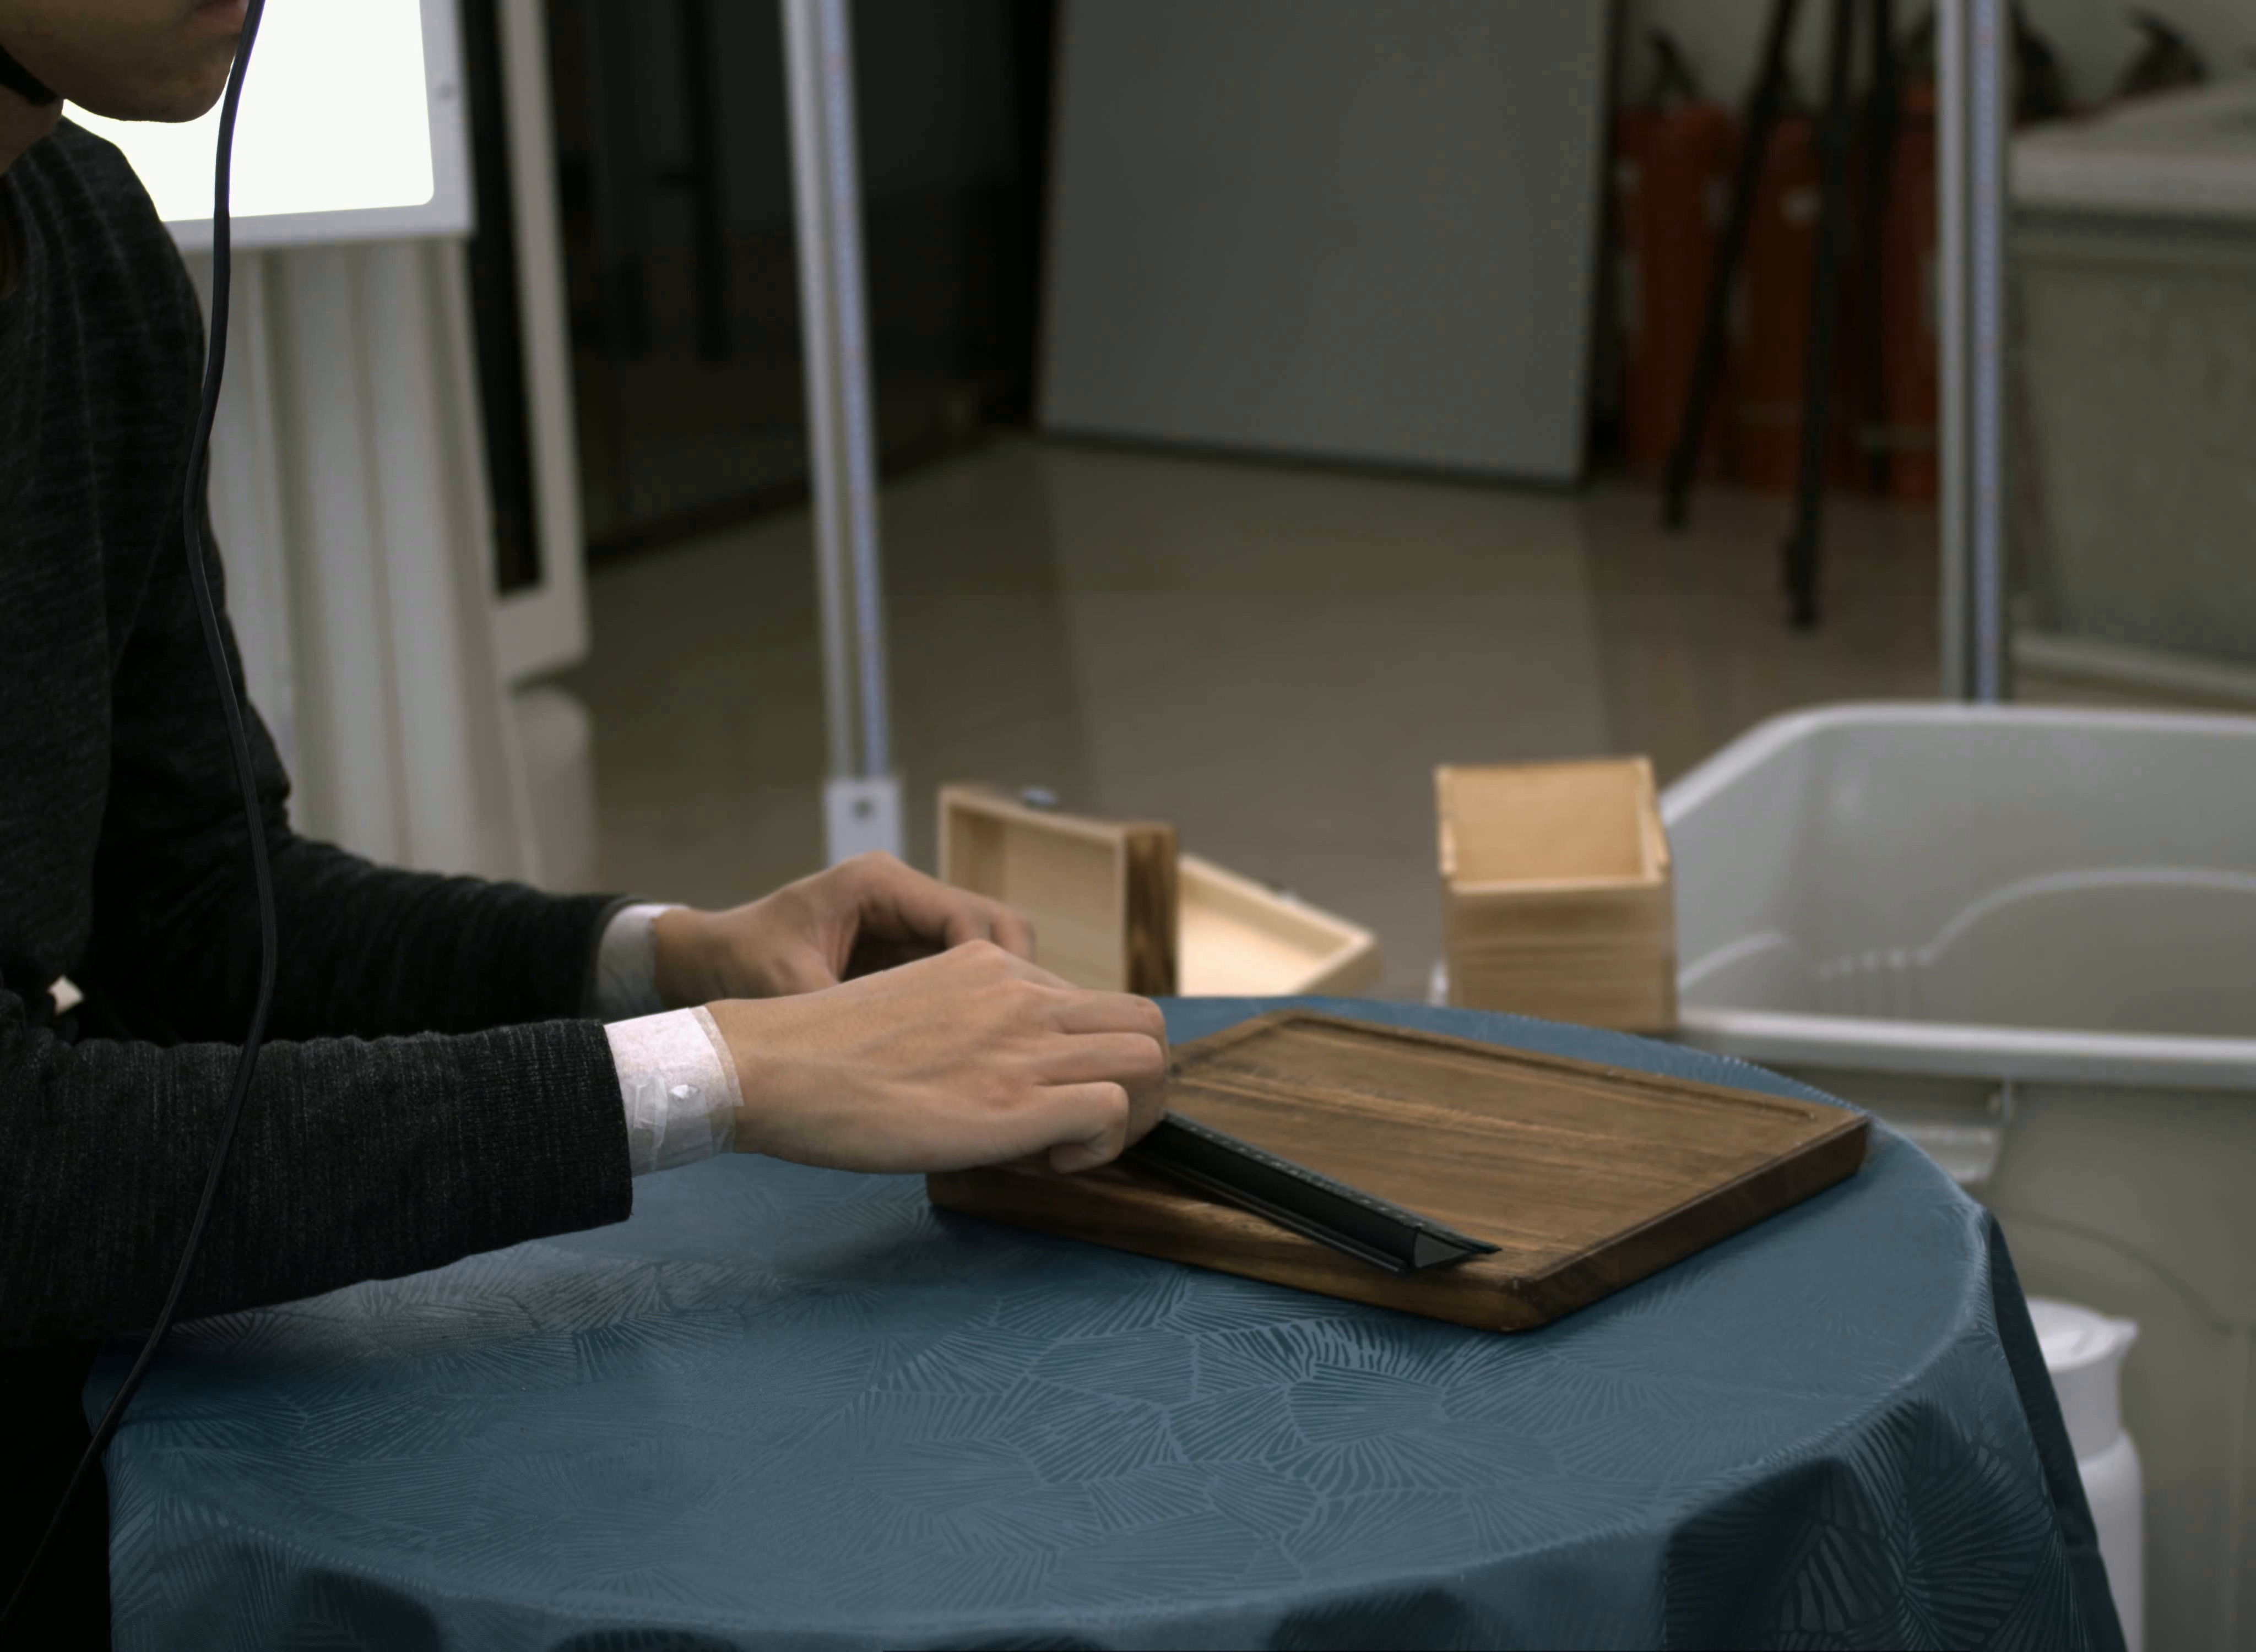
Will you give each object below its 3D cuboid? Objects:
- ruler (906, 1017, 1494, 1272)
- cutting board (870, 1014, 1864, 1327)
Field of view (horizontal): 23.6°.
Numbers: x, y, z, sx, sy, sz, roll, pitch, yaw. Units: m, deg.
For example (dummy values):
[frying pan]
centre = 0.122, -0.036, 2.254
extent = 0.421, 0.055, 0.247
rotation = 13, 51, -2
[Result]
[ruler]
centre = 0.018, 0.097, 1.746
extent = 0.038, 0.017, 0.316
rotation = -9, 14, -29
[cutting board]
centre = 0.049, 0.103, 1.785
extent = 0.355, 0.023, 0.197
rotation = 7, 18, 41
